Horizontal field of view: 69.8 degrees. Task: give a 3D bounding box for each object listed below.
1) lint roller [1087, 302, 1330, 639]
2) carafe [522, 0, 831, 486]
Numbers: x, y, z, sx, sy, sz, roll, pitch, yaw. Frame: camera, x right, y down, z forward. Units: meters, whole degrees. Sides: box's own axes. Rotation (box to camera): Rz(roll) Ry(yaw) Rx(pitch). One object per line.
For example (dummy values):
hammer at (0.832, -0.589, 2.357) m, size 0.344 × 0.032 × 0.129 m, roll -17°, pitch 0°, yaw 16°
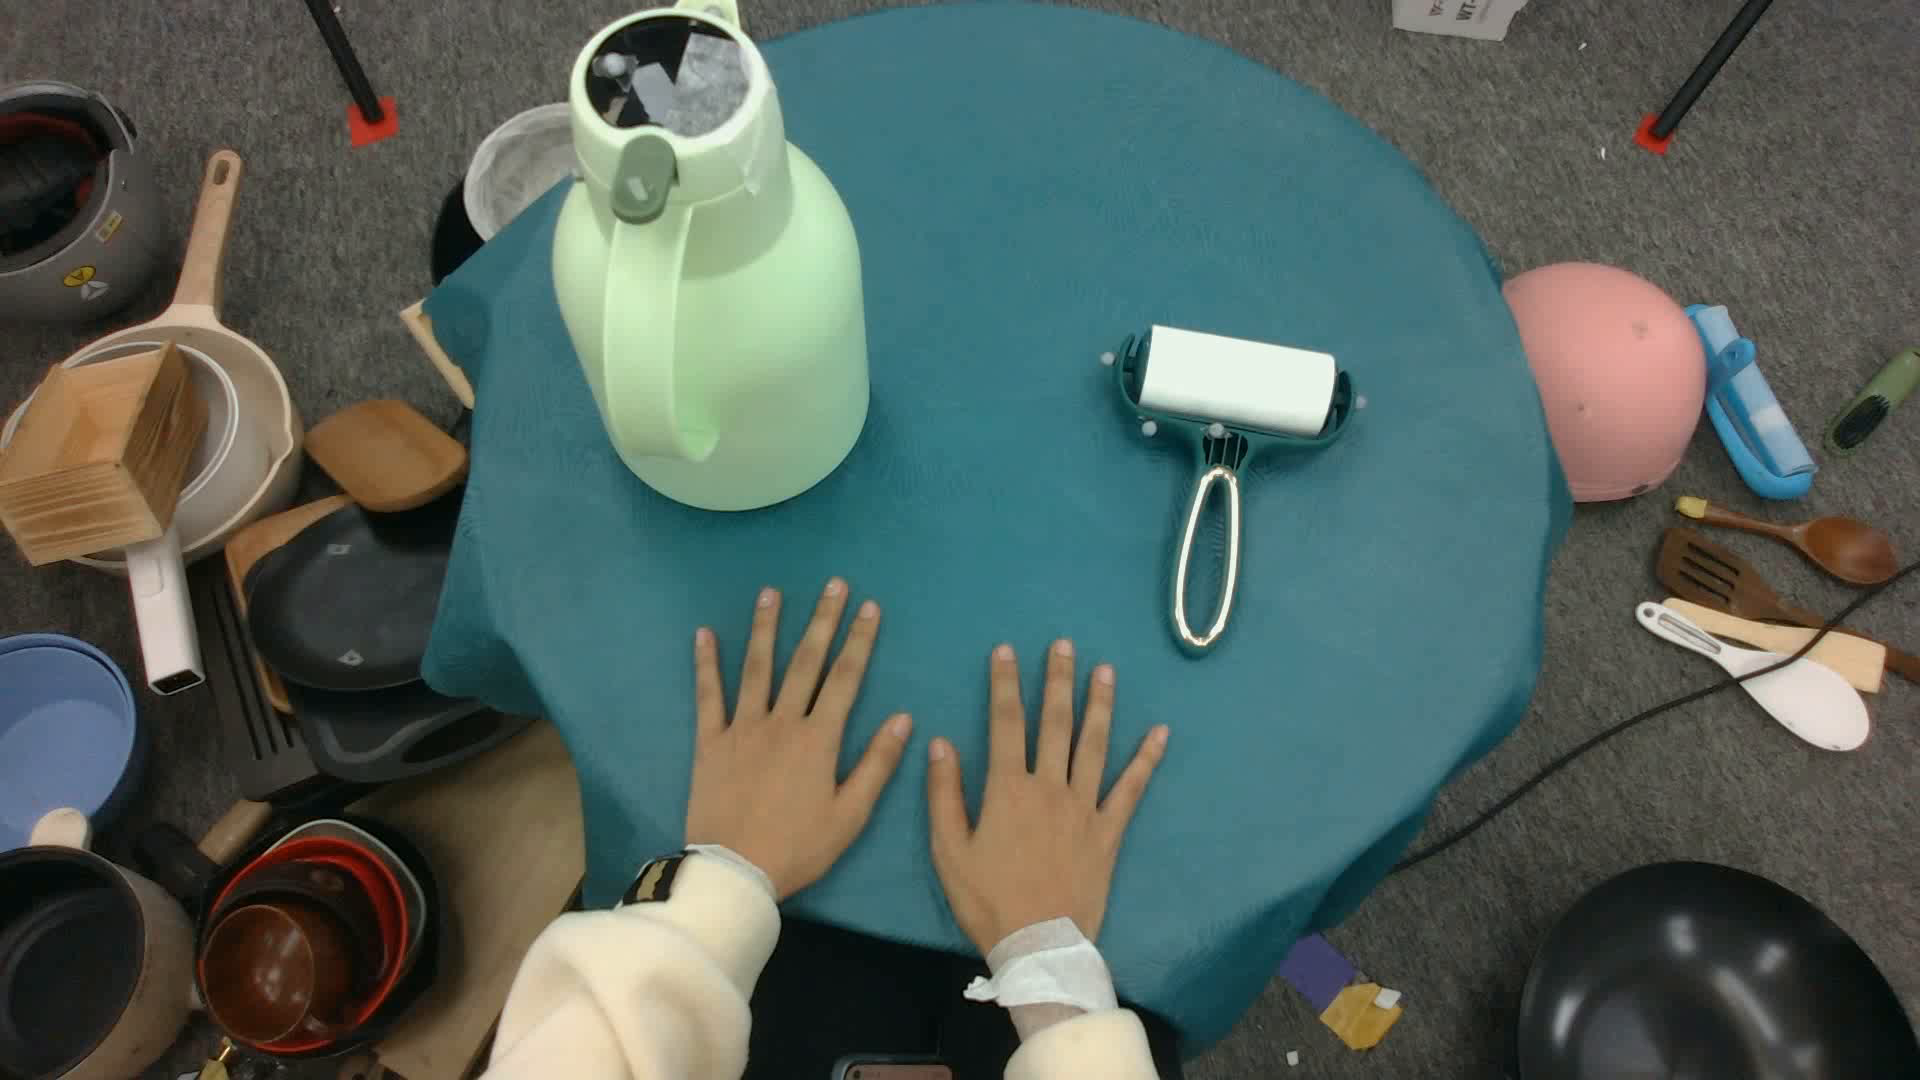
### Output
lint roller at (0.124, -0.038, 0.732) m, size 0.134 × 0.048 × 0.181 m, roll 11°, pitch 66°, yaw 1°
carafe at (-0.134, -0.123, 0.642) m, size 0.144 × 0.256 × 0.187 m, roll 9°, pitch 70°, yaw -2°
